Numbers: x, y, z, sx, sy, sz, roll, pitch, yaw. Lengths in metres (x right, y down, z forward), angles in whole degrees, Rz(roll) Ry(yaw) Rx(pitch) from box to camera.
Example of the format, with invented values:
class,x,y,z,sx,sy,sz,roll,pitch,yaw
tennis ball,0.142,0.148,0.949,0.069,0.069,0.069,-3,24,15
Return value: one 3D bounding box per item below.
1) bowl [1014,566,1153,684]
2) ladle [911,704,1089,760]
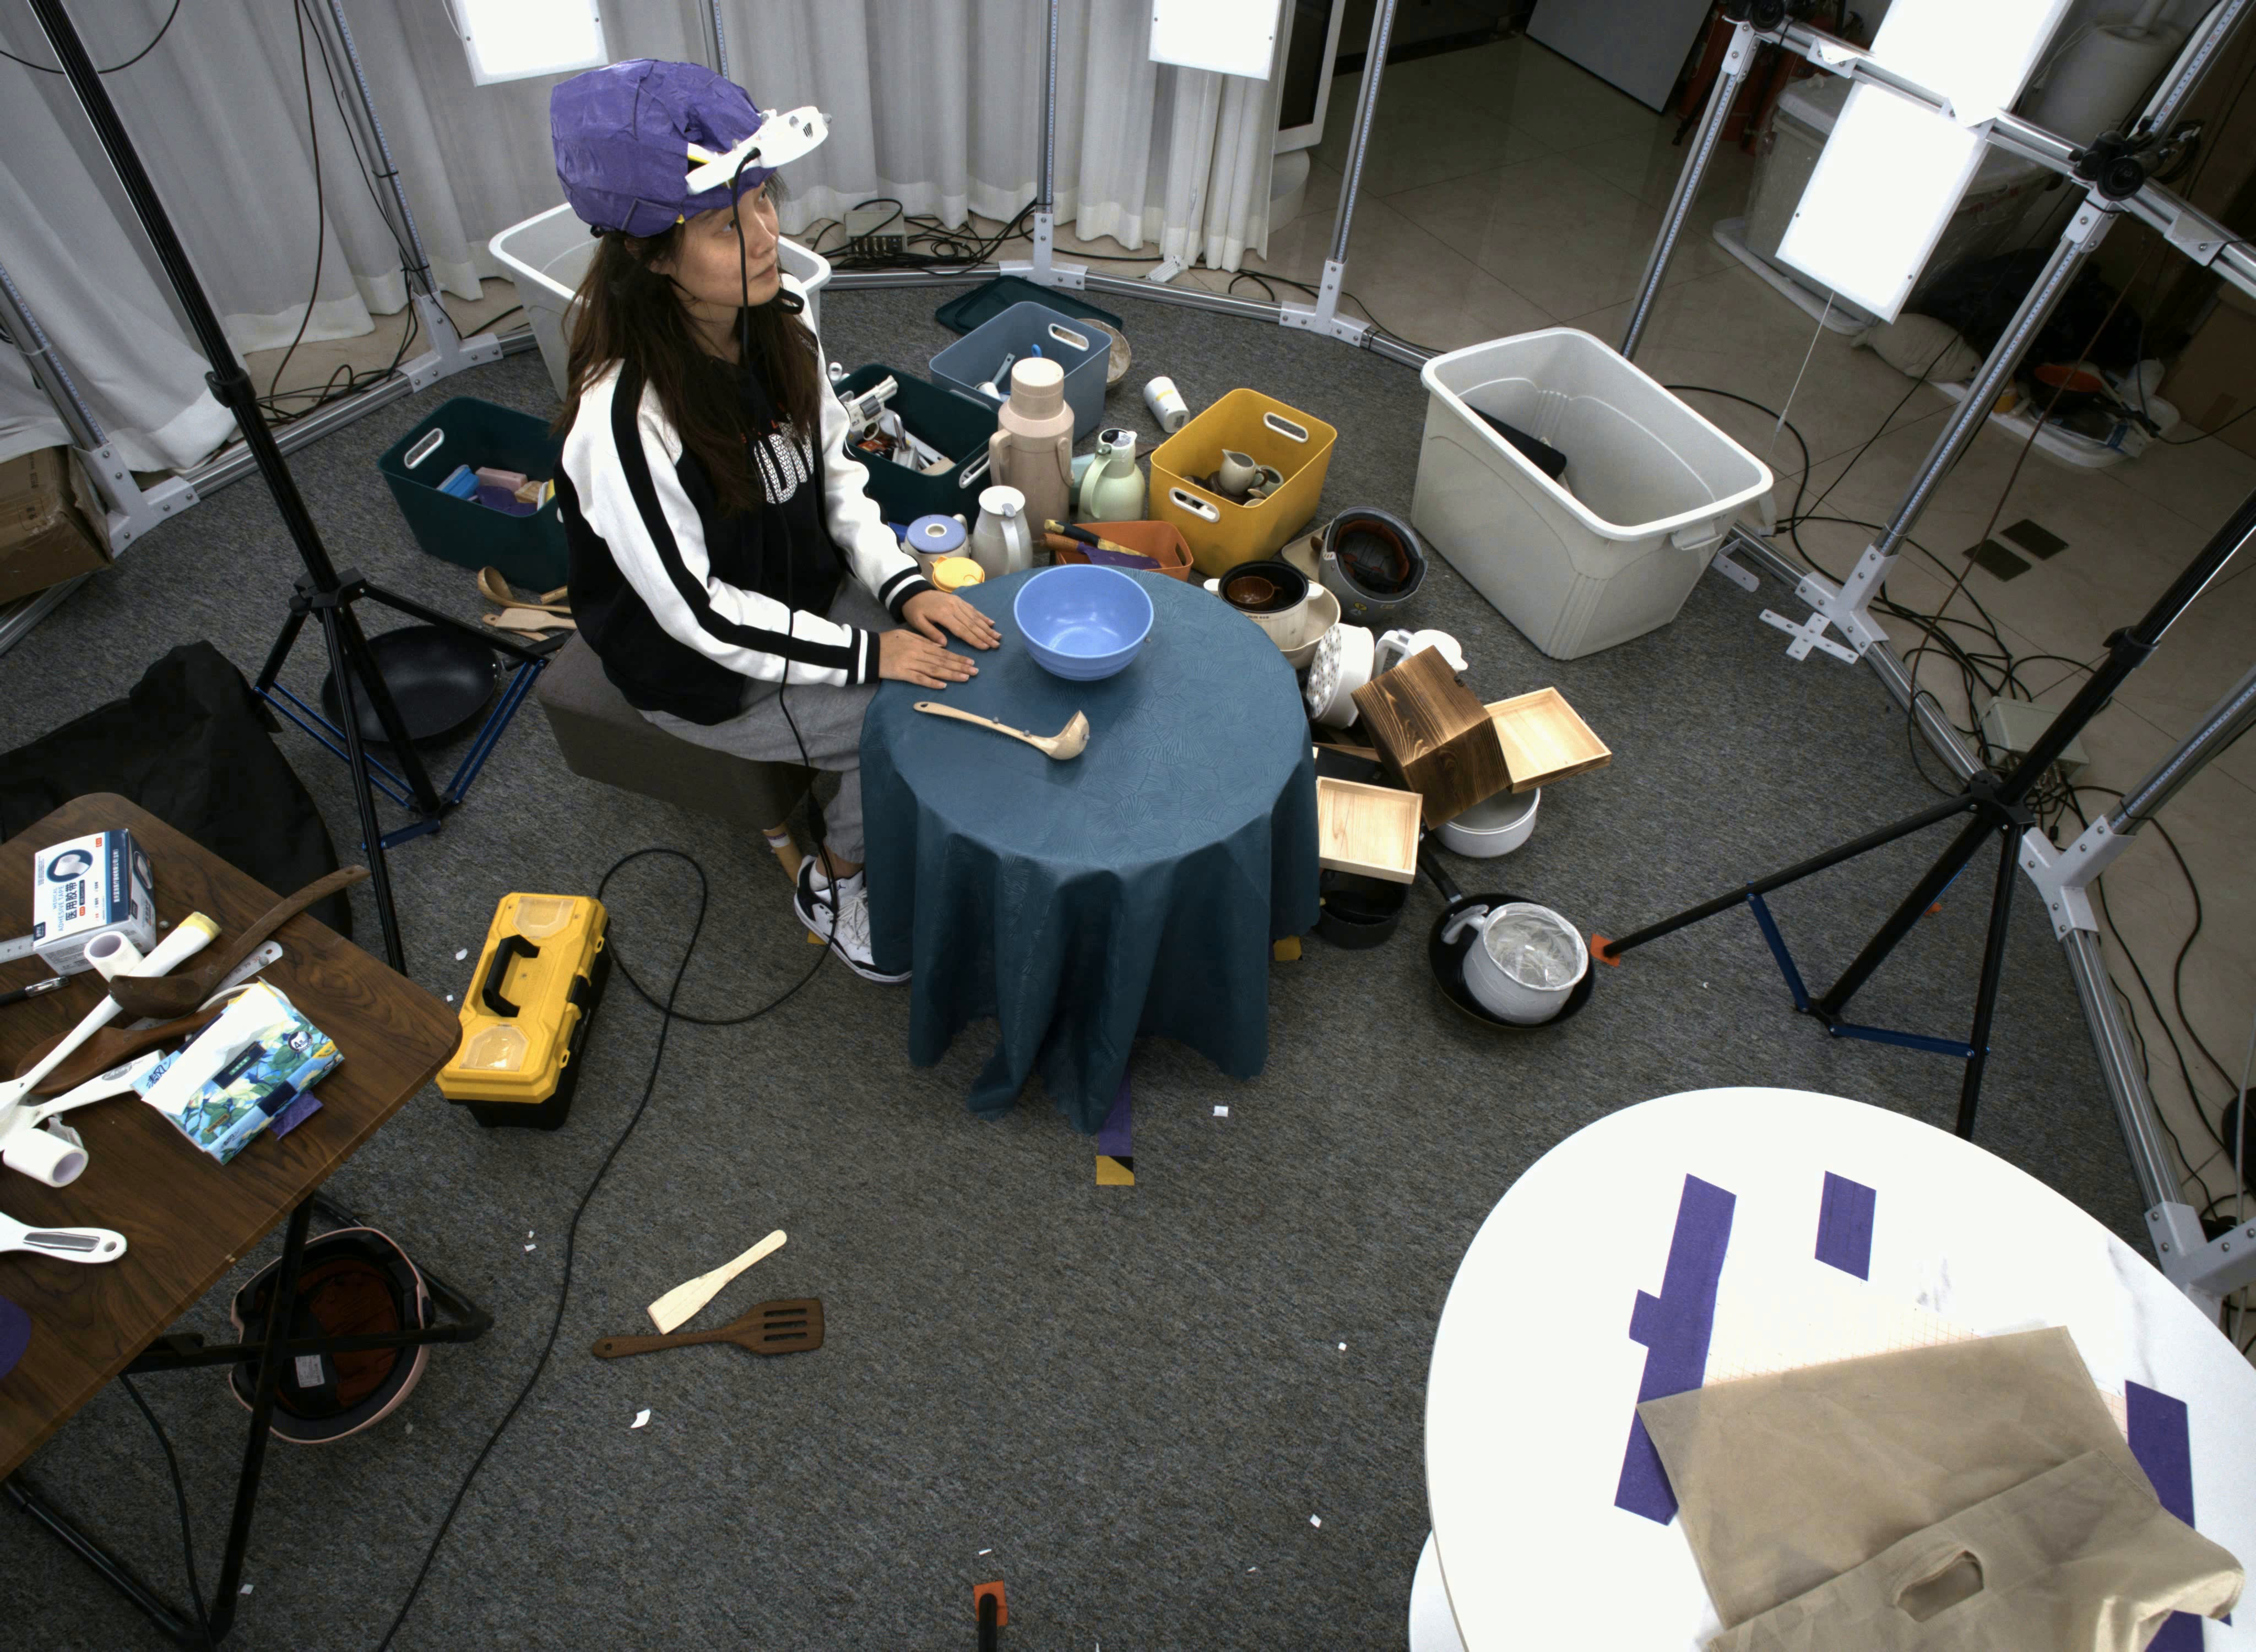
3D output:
class,x,y,z,sx,sy,sz,roll,pitch,yaw
bowl,-0.064,-0.273,1.846,0.196,0.093,0.201,1,51,-2
ladle,-0.177,-0.152,1.743,0.255,0.071,0.073,16,49,10
